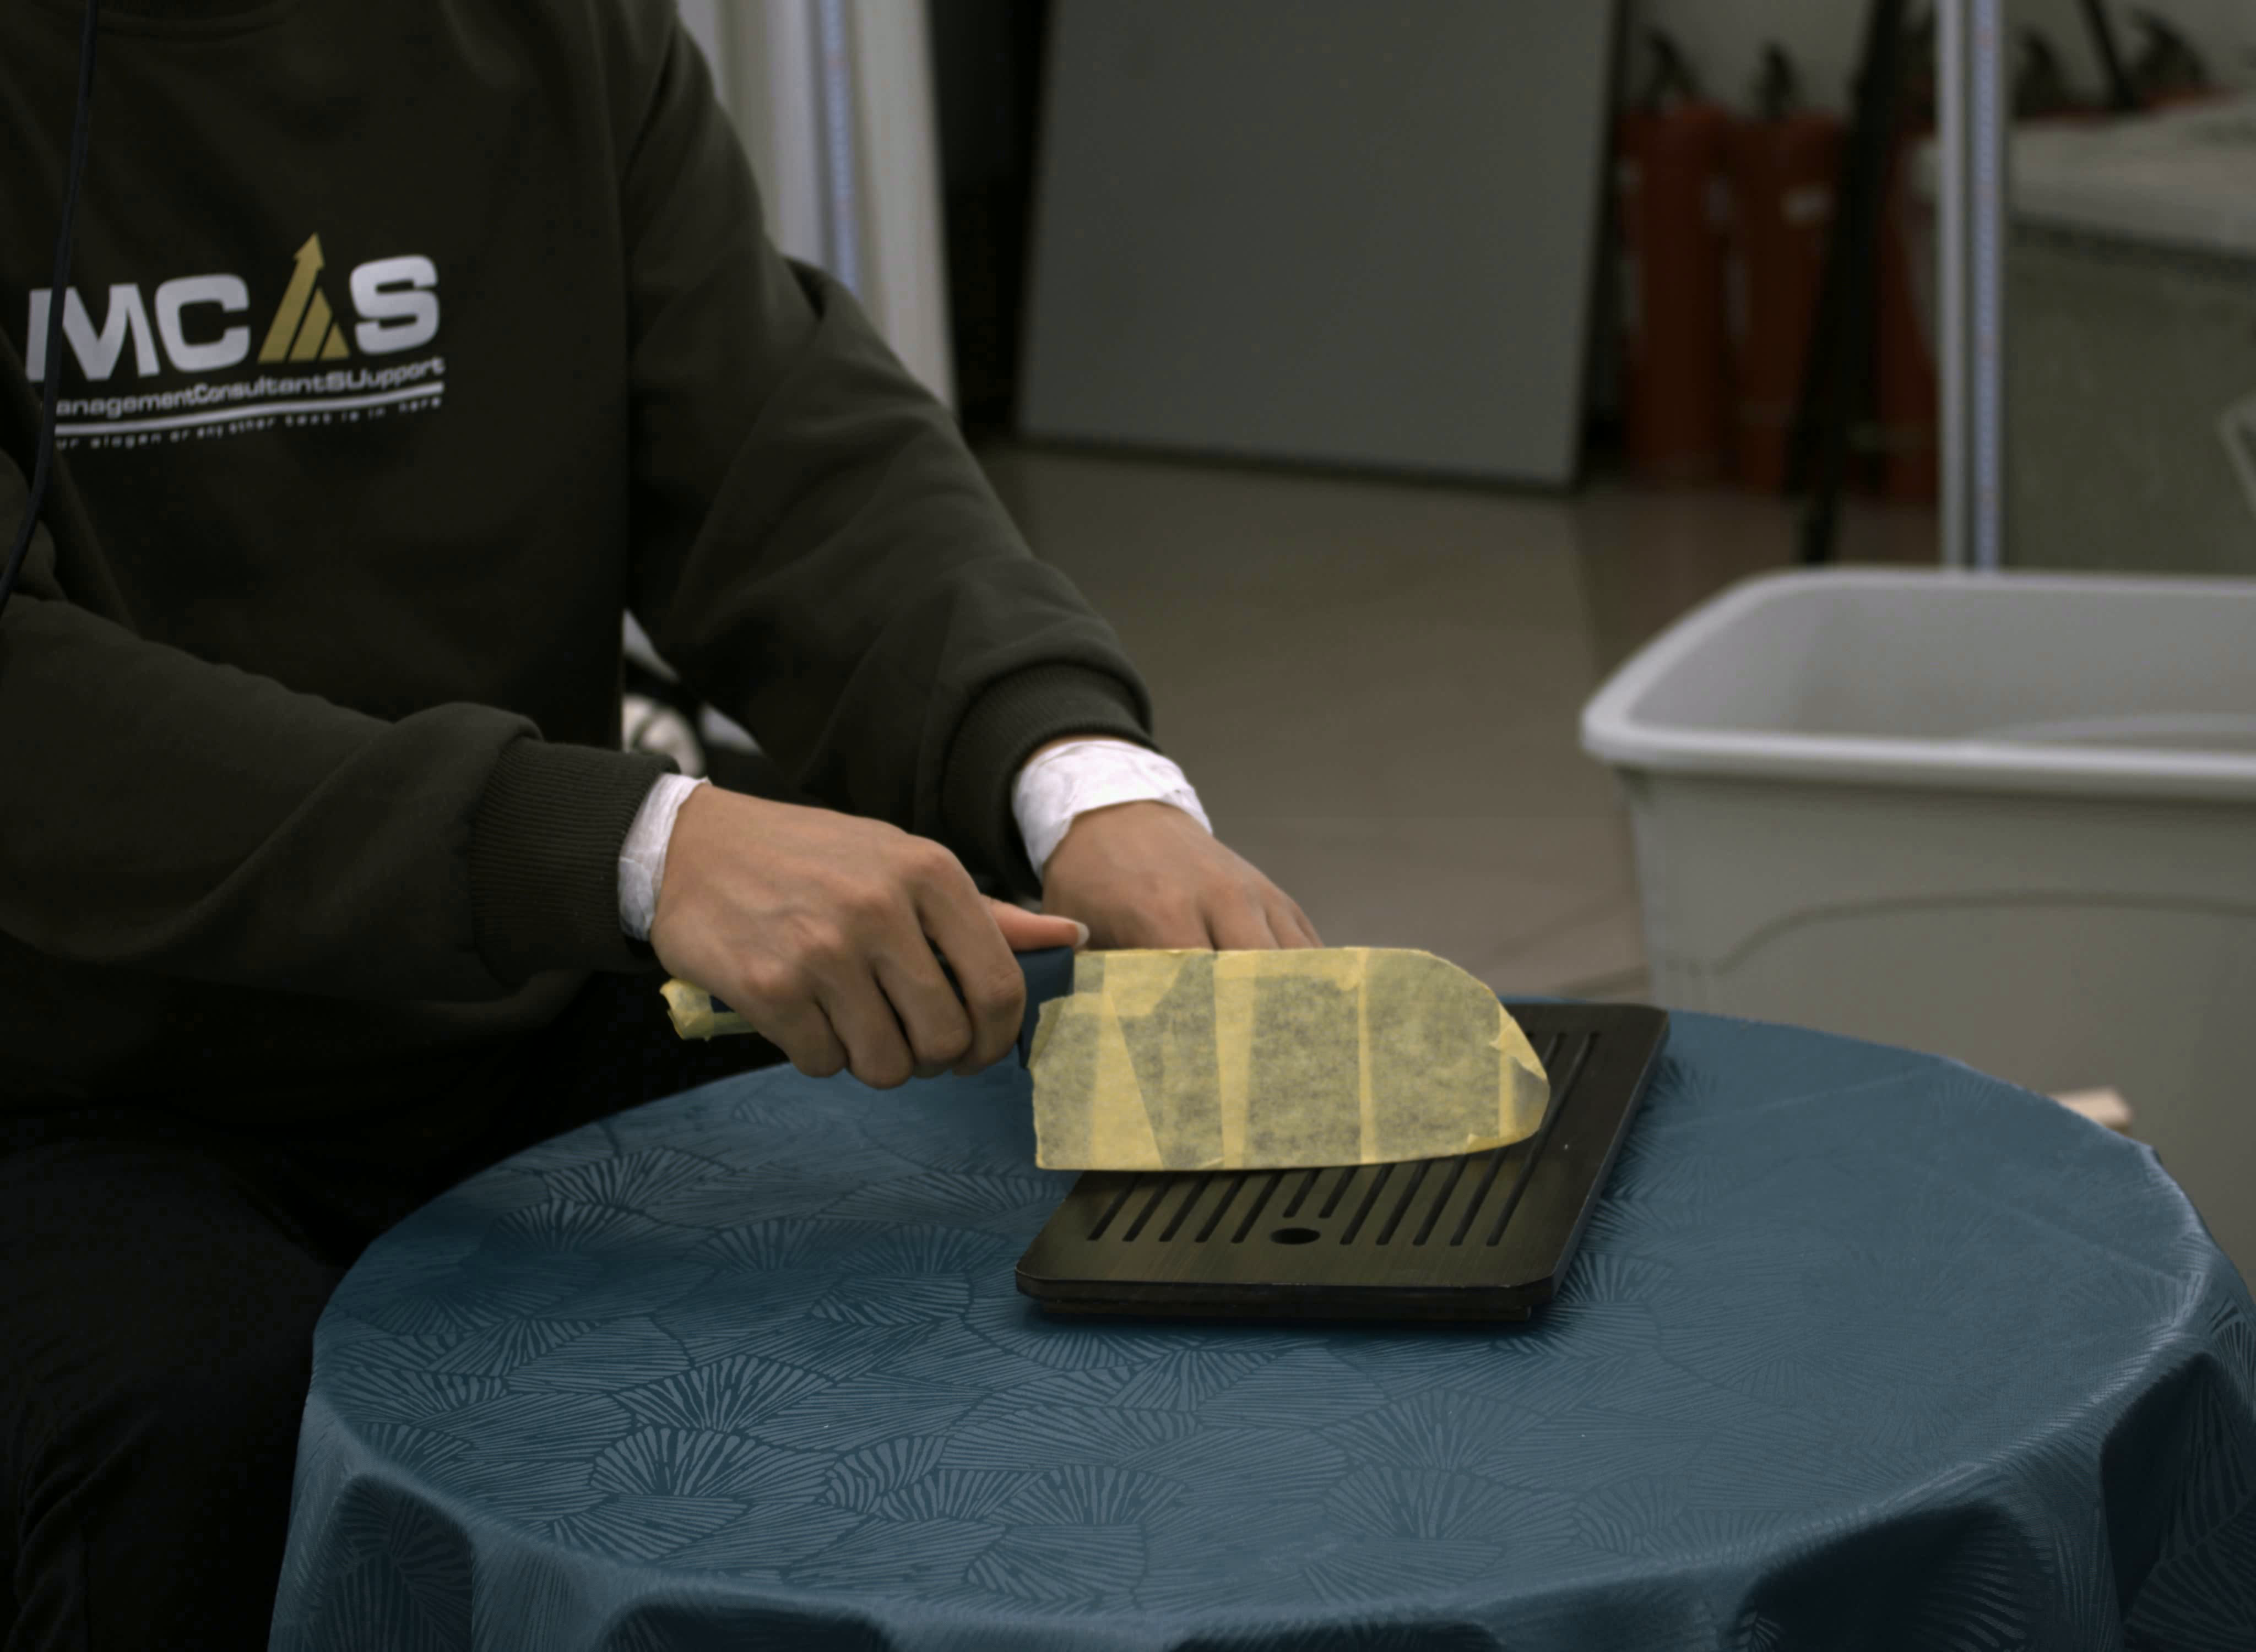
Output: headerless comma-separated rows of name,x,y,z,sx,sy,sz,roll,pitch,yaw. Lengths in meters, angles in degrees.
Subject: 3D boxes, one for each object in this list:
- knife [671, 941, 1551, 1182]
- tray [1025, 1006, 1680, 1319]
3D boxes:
knife,-0.005,0.075,1.742,0.286,0.082,0.027,1,-17,4
tray,0.081,0.108,1.766,0.169,0.019,0.304,-1,13,14
